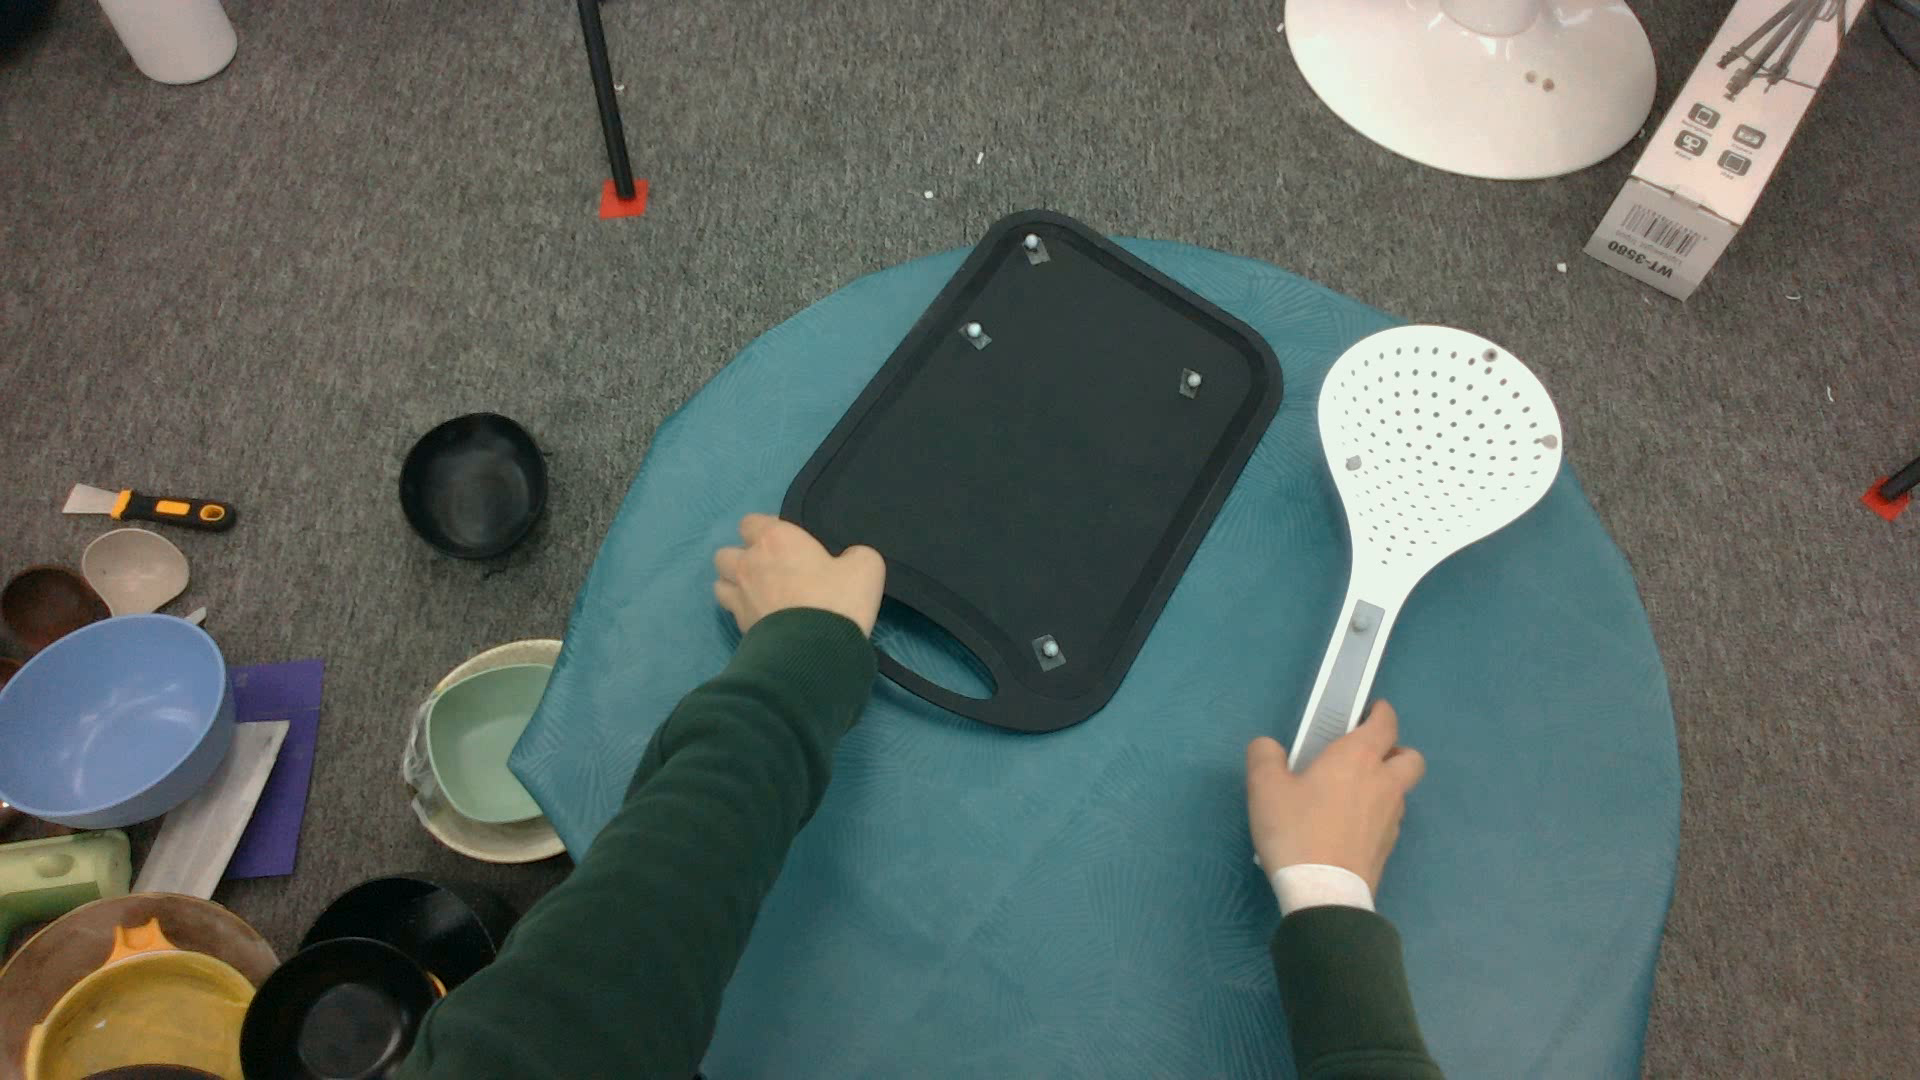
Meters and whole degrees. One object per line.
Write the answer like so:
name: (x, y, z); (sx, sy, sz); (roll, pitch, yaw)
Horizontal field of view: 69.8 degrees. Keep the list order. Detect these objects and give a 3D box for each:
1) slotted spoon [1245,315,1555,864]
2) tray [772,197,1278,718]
slotted spoon: (0.227, 0.016, 0.751); (0.136, 0.045, 0.351); (22, 60, 12)
tray: (0.043, -0.055, 0.787); (0.211, 0.010, 0.327); (32, 63, 3)
